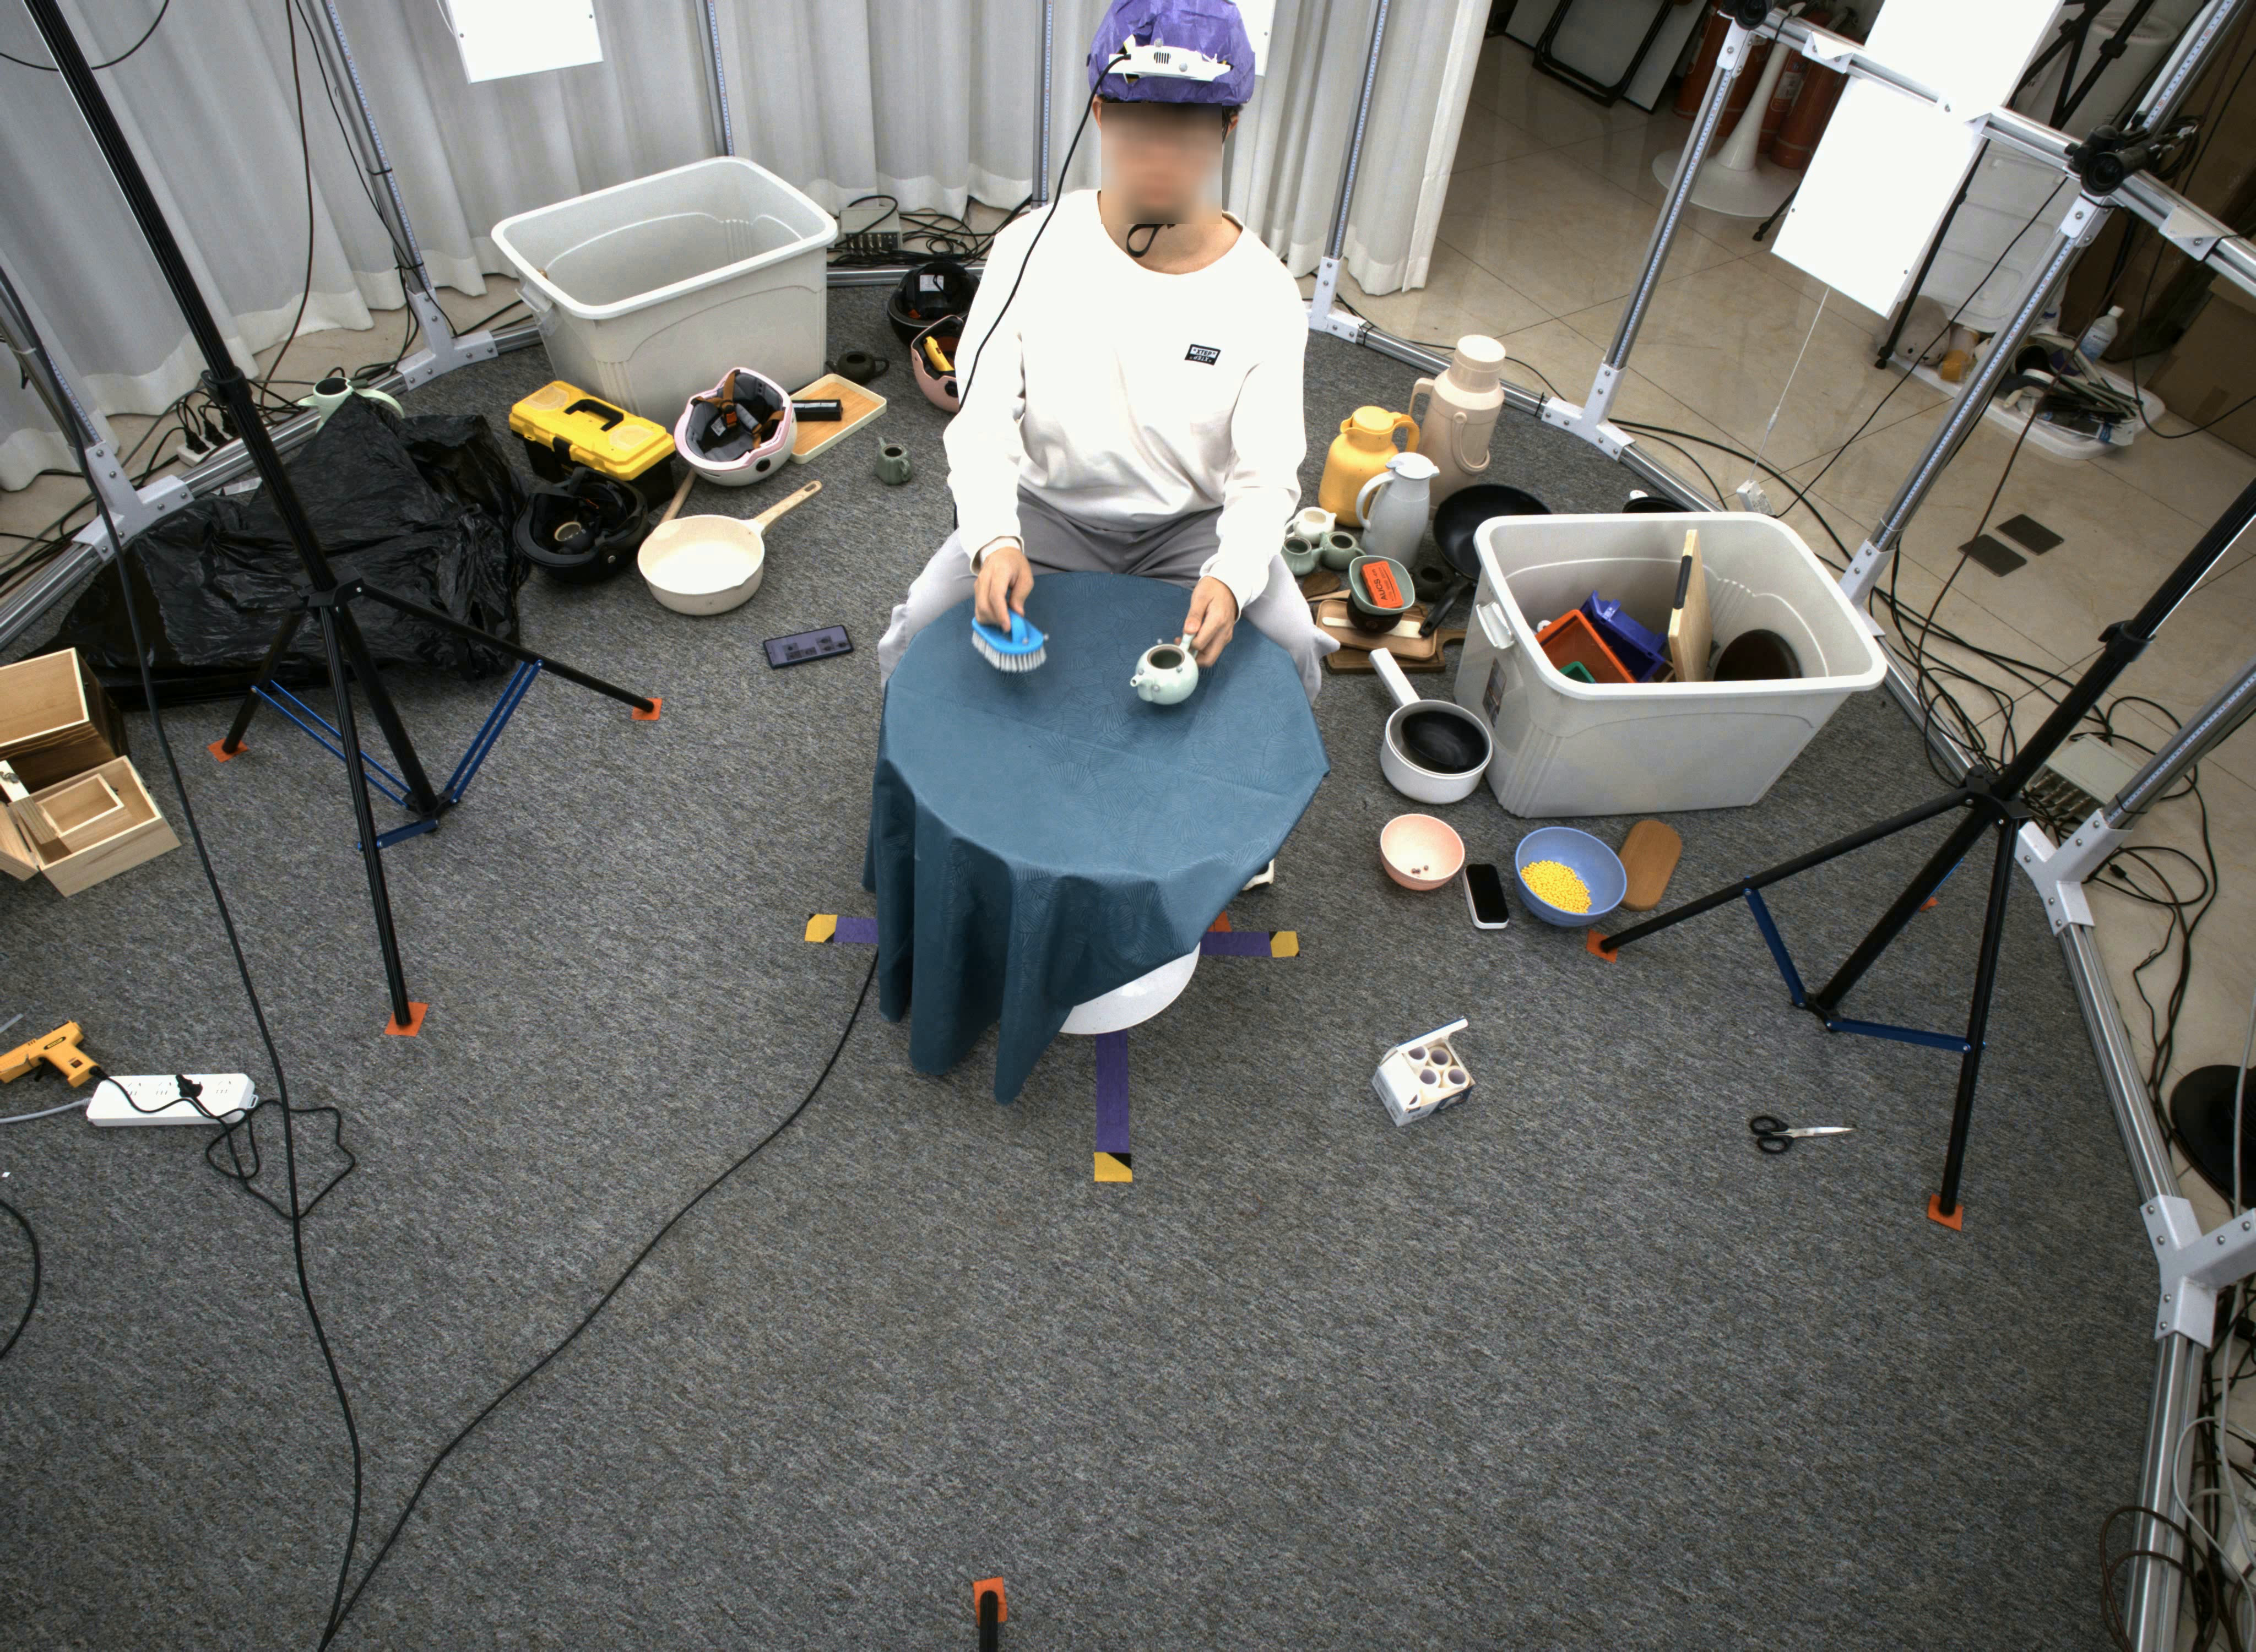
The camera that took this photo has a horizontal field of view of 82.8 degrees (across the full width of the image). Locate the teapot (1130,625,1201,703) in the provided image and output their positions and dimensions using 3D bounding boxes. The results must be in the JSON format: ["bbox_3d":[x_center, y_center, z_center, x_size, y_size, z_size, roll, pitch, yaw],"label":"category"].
[{"bbox_3d":[0.055,-0.215,1.786,0.089,0.073,0.145,30,58,32],"label":"teapot"}]

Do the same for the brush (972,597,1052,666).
[{"bbox_3d":[-0.165,-0.277,1.782,0.084,0.062,0.144,-22,36,-20],"label":"brush"}]
